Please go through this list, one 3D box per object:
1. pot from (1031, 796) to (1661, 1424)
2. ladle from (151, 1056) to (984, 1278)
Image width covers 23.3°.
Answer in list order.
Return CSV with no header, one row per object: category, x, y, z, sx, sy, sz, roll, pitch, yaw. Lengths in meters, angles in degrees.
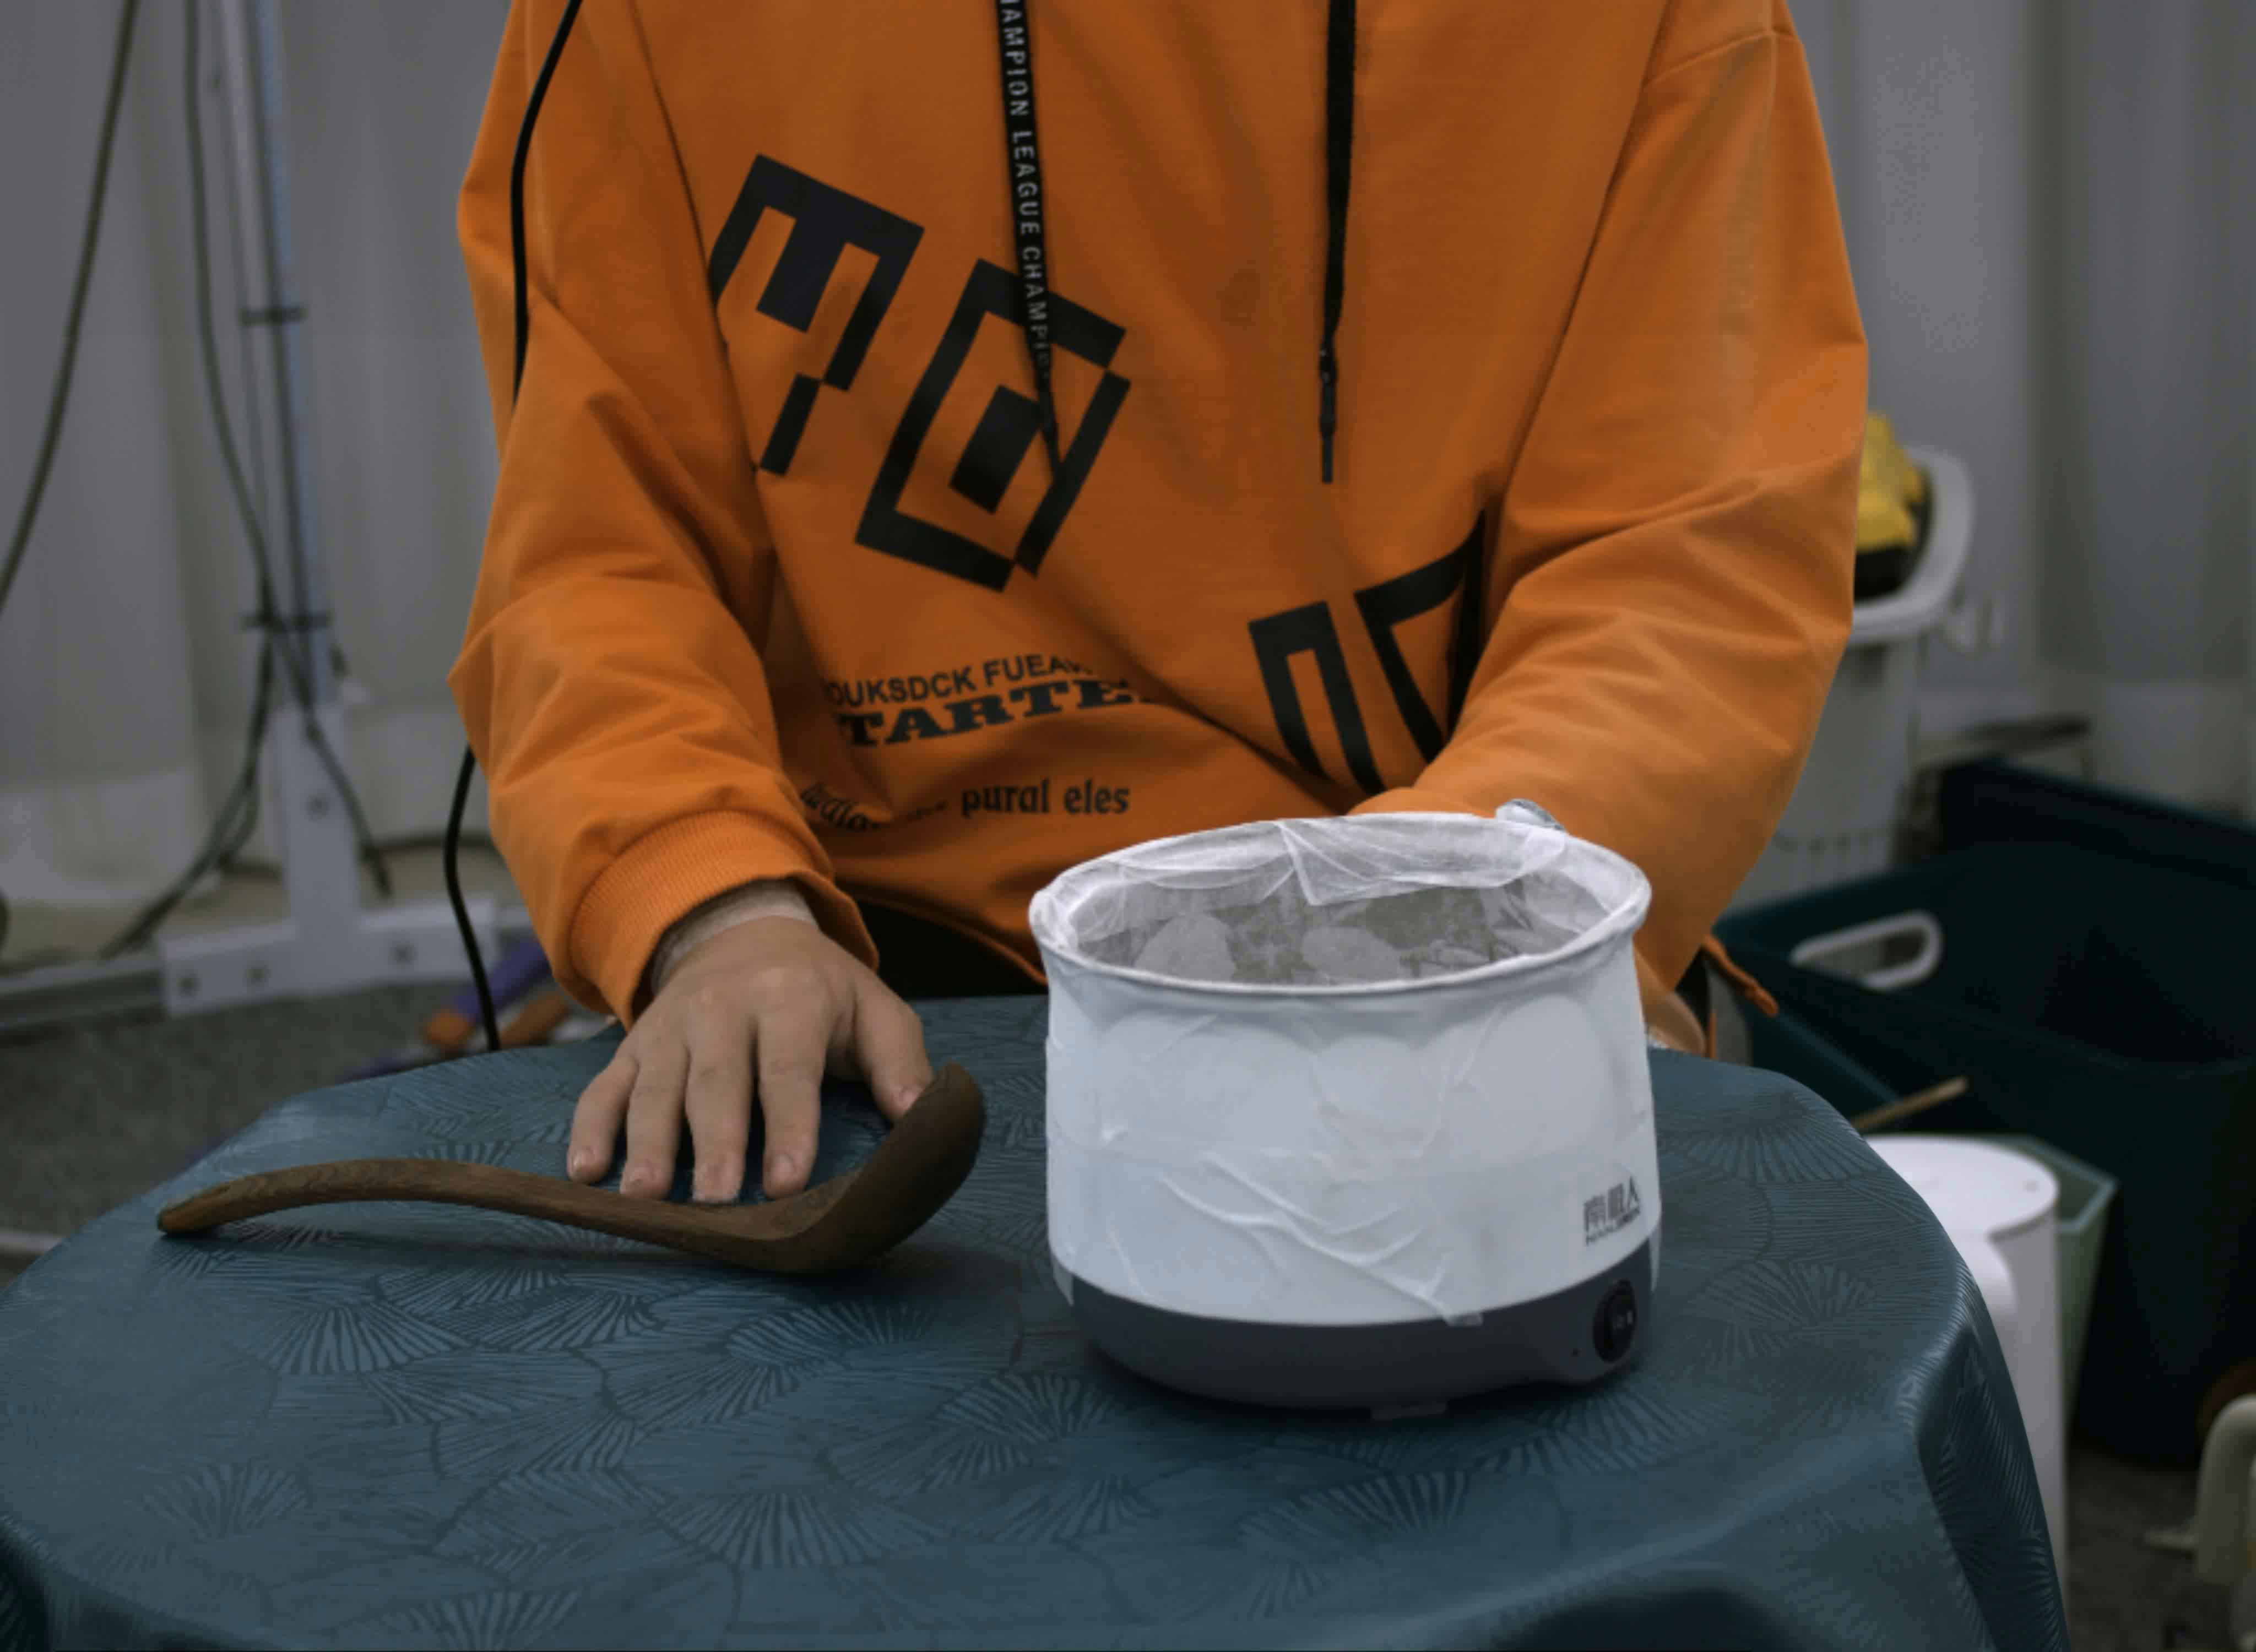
pot,0.078,0.075,1.585,0.179,0.136,0.234,7,18,33
ladle,-0.175,0.098,1.678,0.274,0.071,0.076,3,13,18
